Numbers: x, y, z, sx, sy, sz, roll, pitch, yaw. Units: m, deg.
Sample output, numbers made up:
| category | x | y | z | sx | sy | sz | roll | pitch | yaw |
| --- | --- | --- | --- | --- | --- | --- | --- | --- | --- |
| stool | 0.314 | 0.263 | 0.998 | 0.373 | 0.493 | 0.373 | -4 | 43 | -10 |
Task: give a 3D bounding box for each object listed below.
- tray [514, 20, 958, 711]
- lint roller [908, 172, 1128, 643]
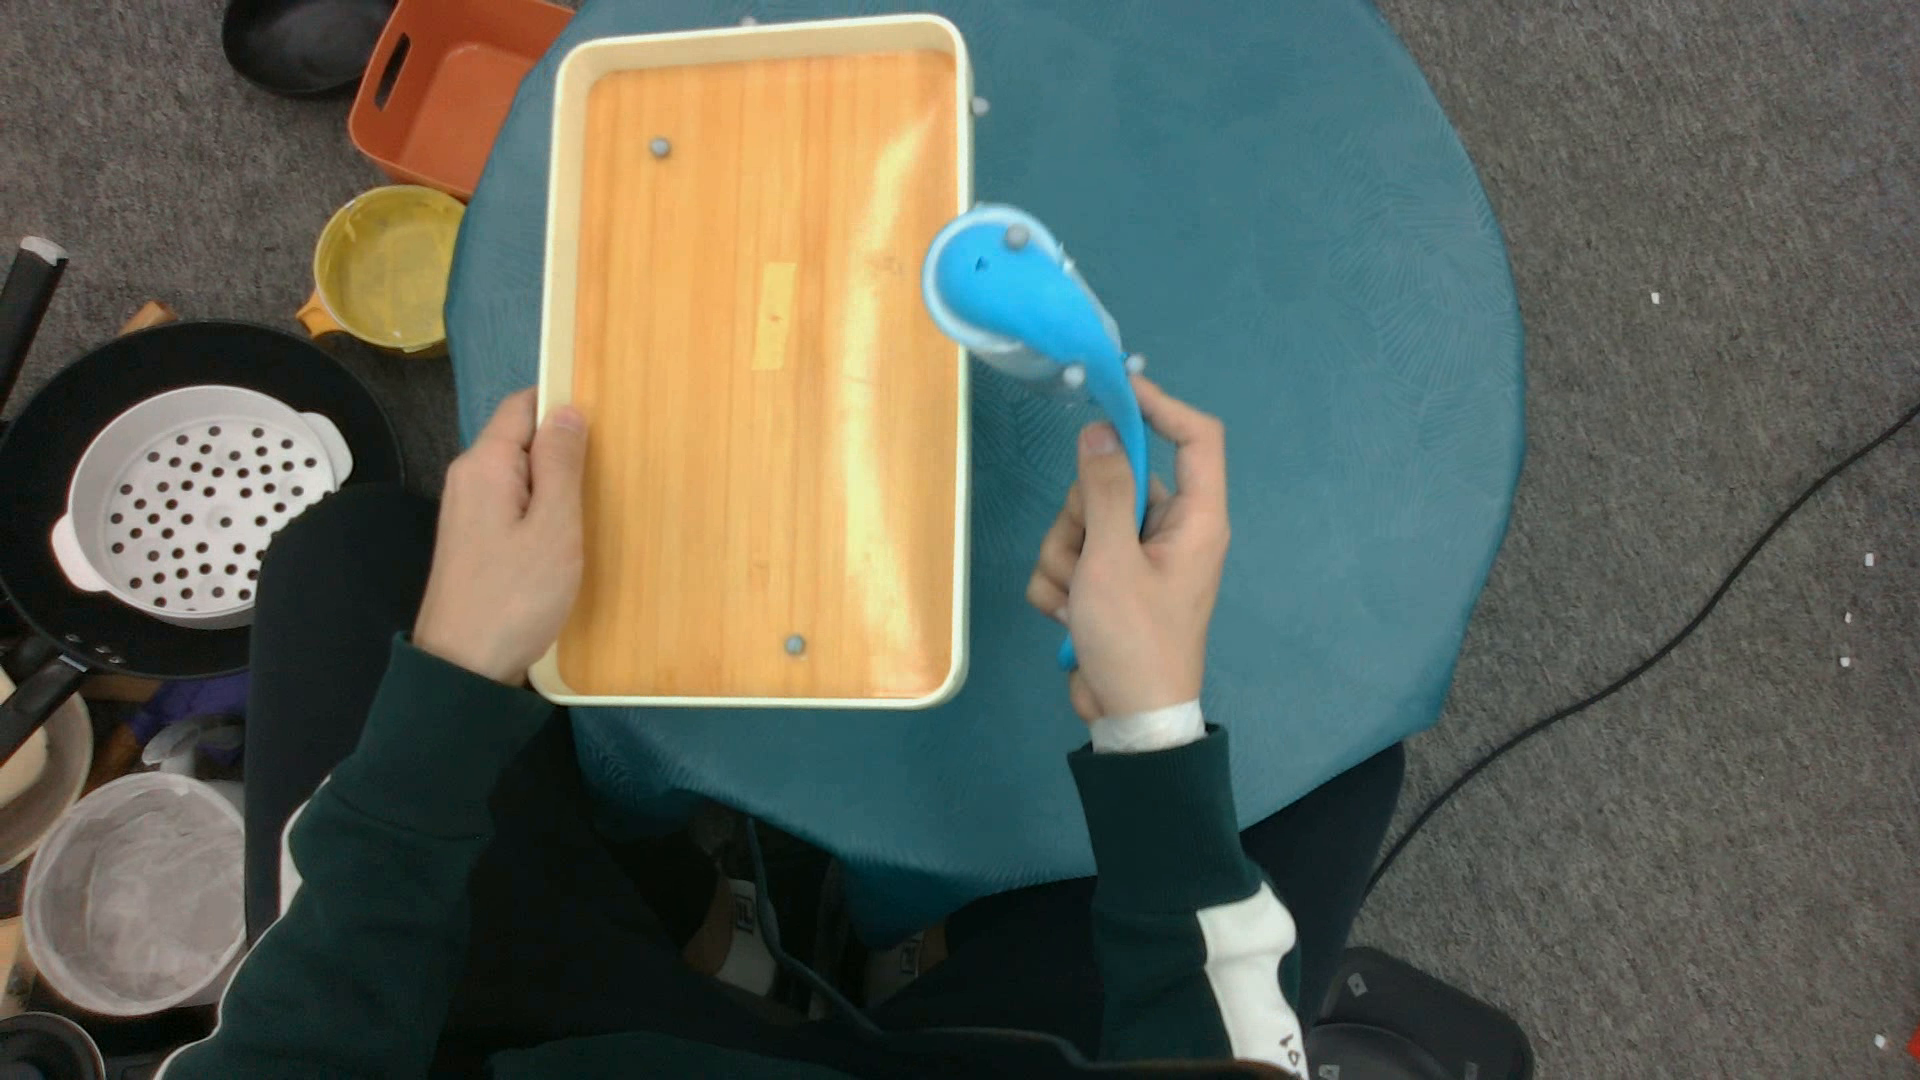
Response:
| category | x | y | z | sx | sy | sz | roll | pitch | yaw |
| --- | --- | --- | --- | --- | --- | --- | --- | --- | --- |
| tray | -0.096 | -0.076 | 0.604 | 0.191 | 0.027 | 0.300 | -2 | 80 | 10 |
| lint roller | 0.041 | -0.051 | 0.589 | 0.068 | 0.229 | 0.180 | -16 | 90 | 9 |
